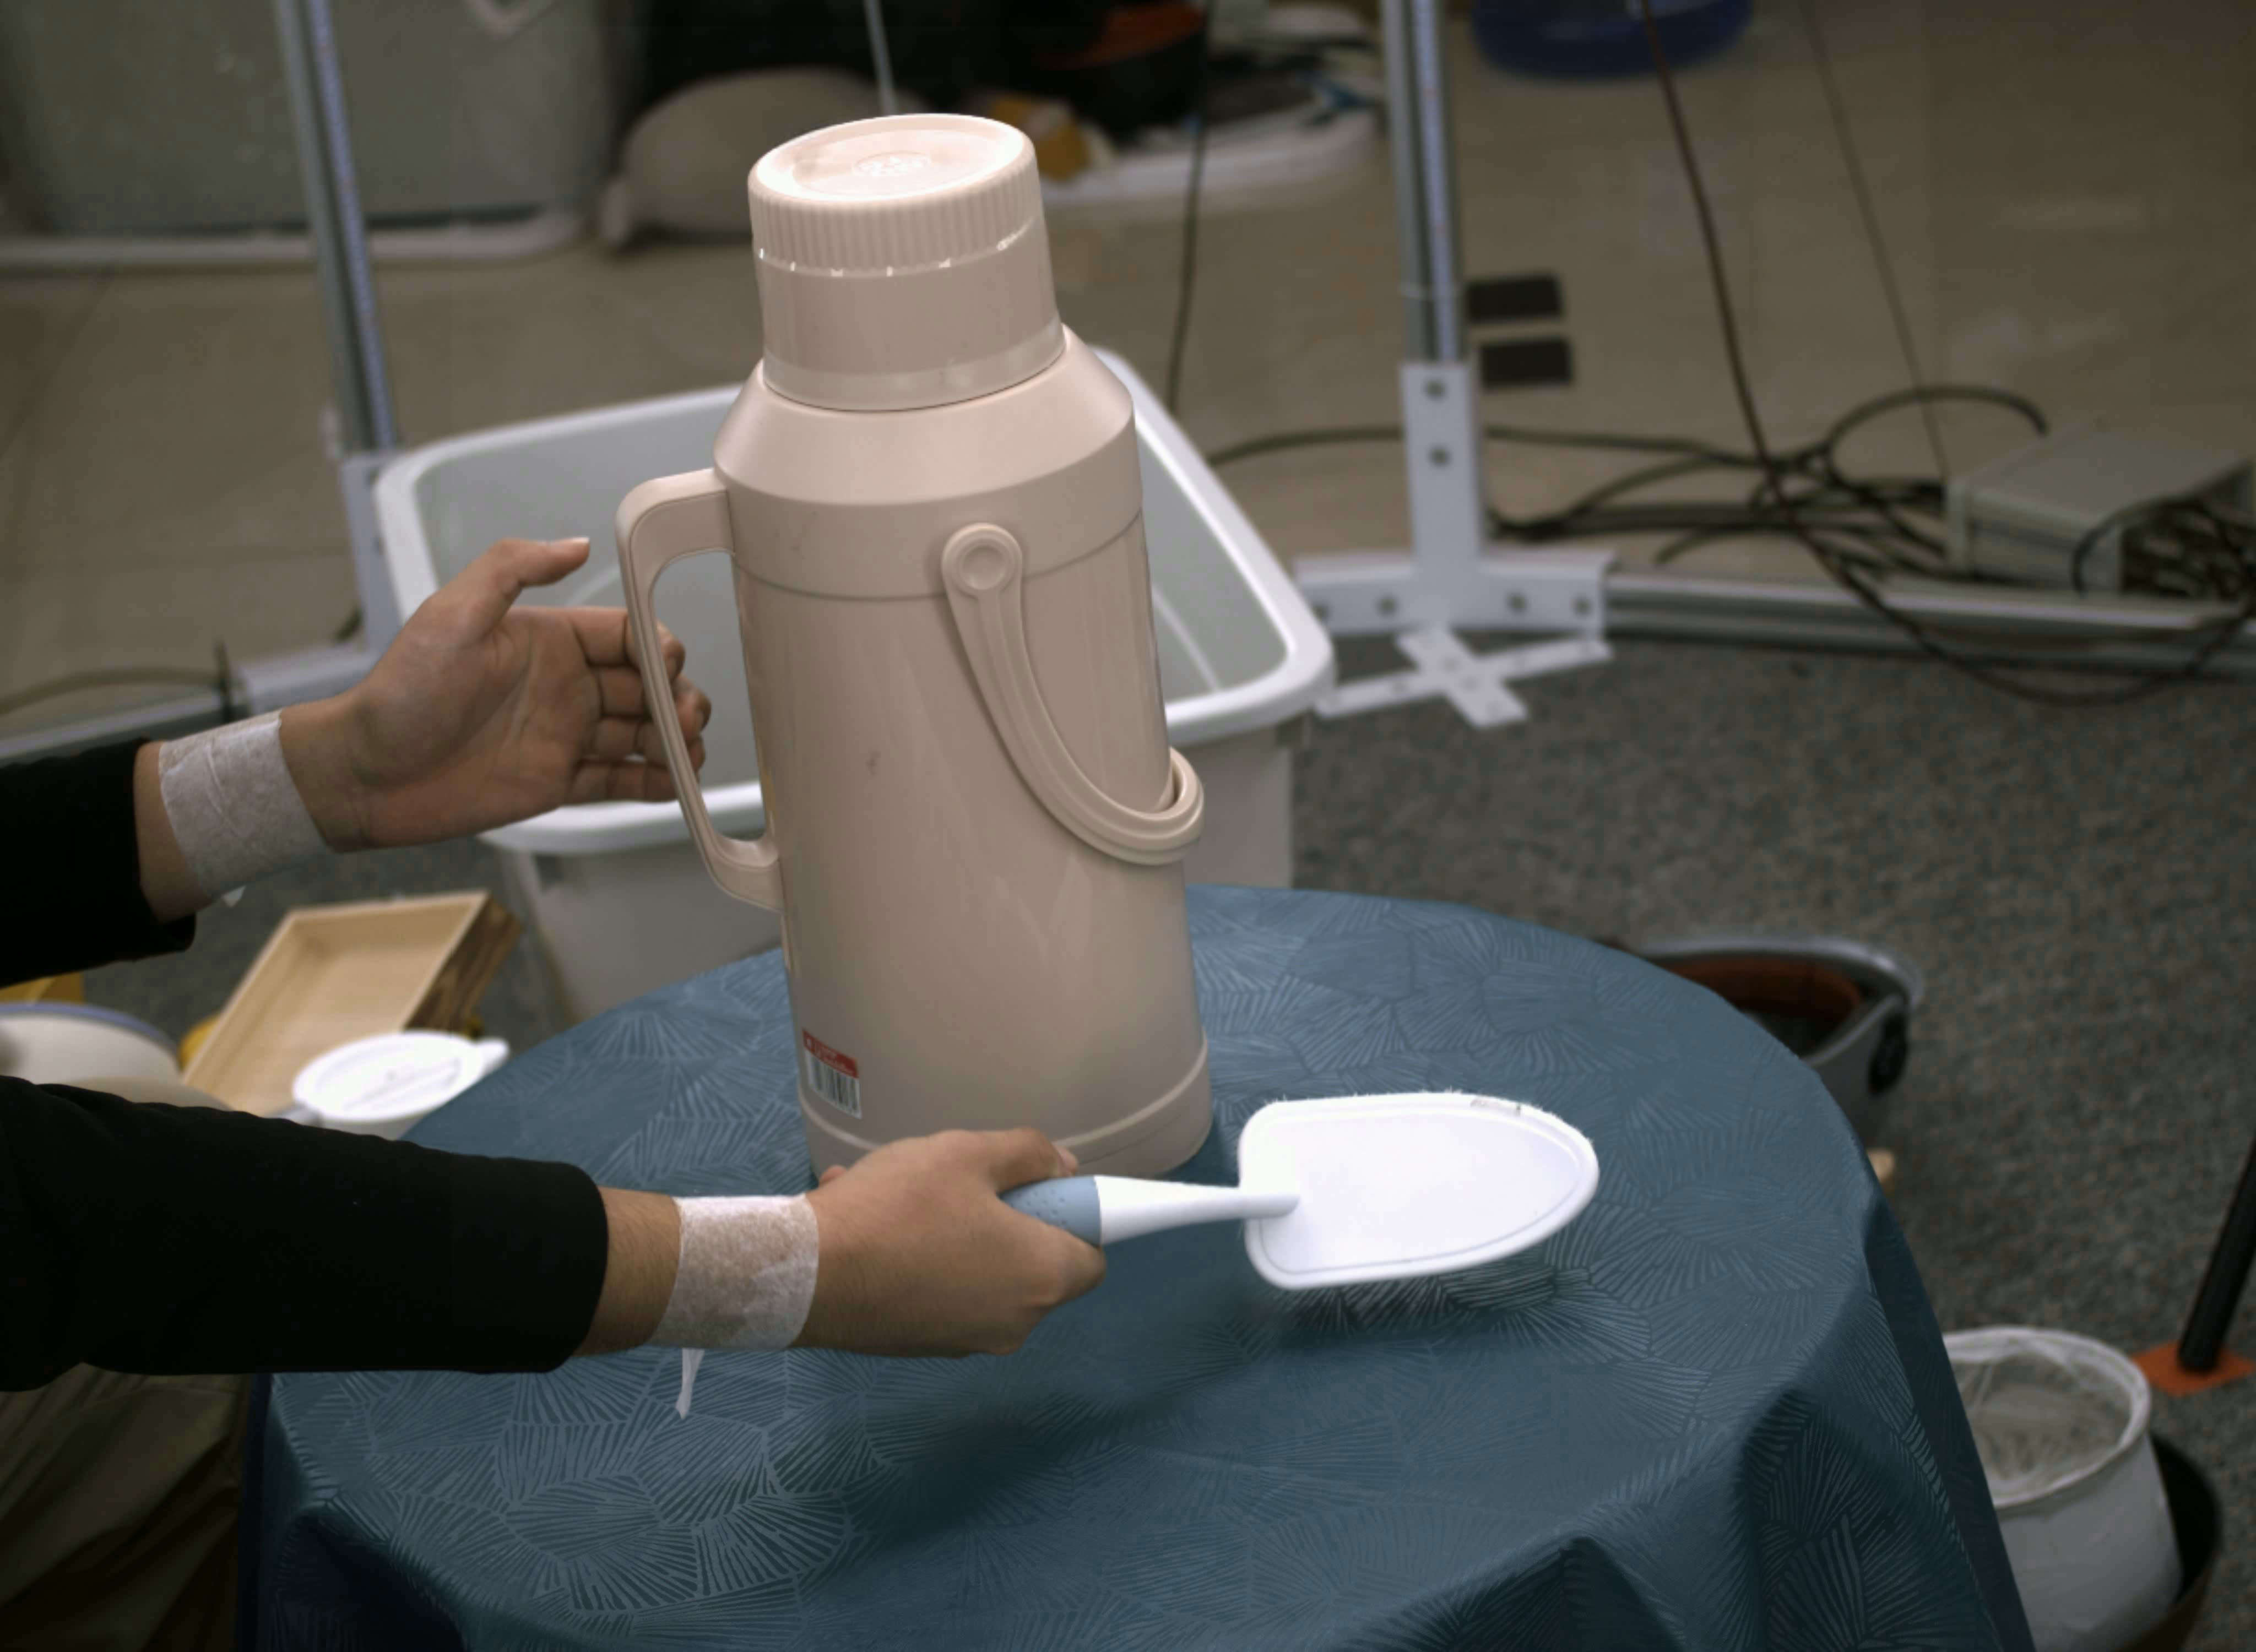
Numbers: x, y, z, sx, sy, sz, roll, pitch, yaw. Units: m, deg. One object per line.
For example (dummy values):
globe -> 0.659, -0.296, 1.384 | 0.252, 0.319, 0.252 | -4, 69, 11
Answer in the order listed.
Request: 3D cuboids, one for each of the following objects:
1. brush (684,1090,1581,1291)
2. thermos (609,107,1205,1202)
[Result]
brush -> 0.002, 0.131, 2.024 | 0.325, 0.086, 0.081 | -4, 49, -9
thermos -> -0.081, -0.058, 2.113 | 0.206, 0.413, 0.173 | -12, 28, -11
